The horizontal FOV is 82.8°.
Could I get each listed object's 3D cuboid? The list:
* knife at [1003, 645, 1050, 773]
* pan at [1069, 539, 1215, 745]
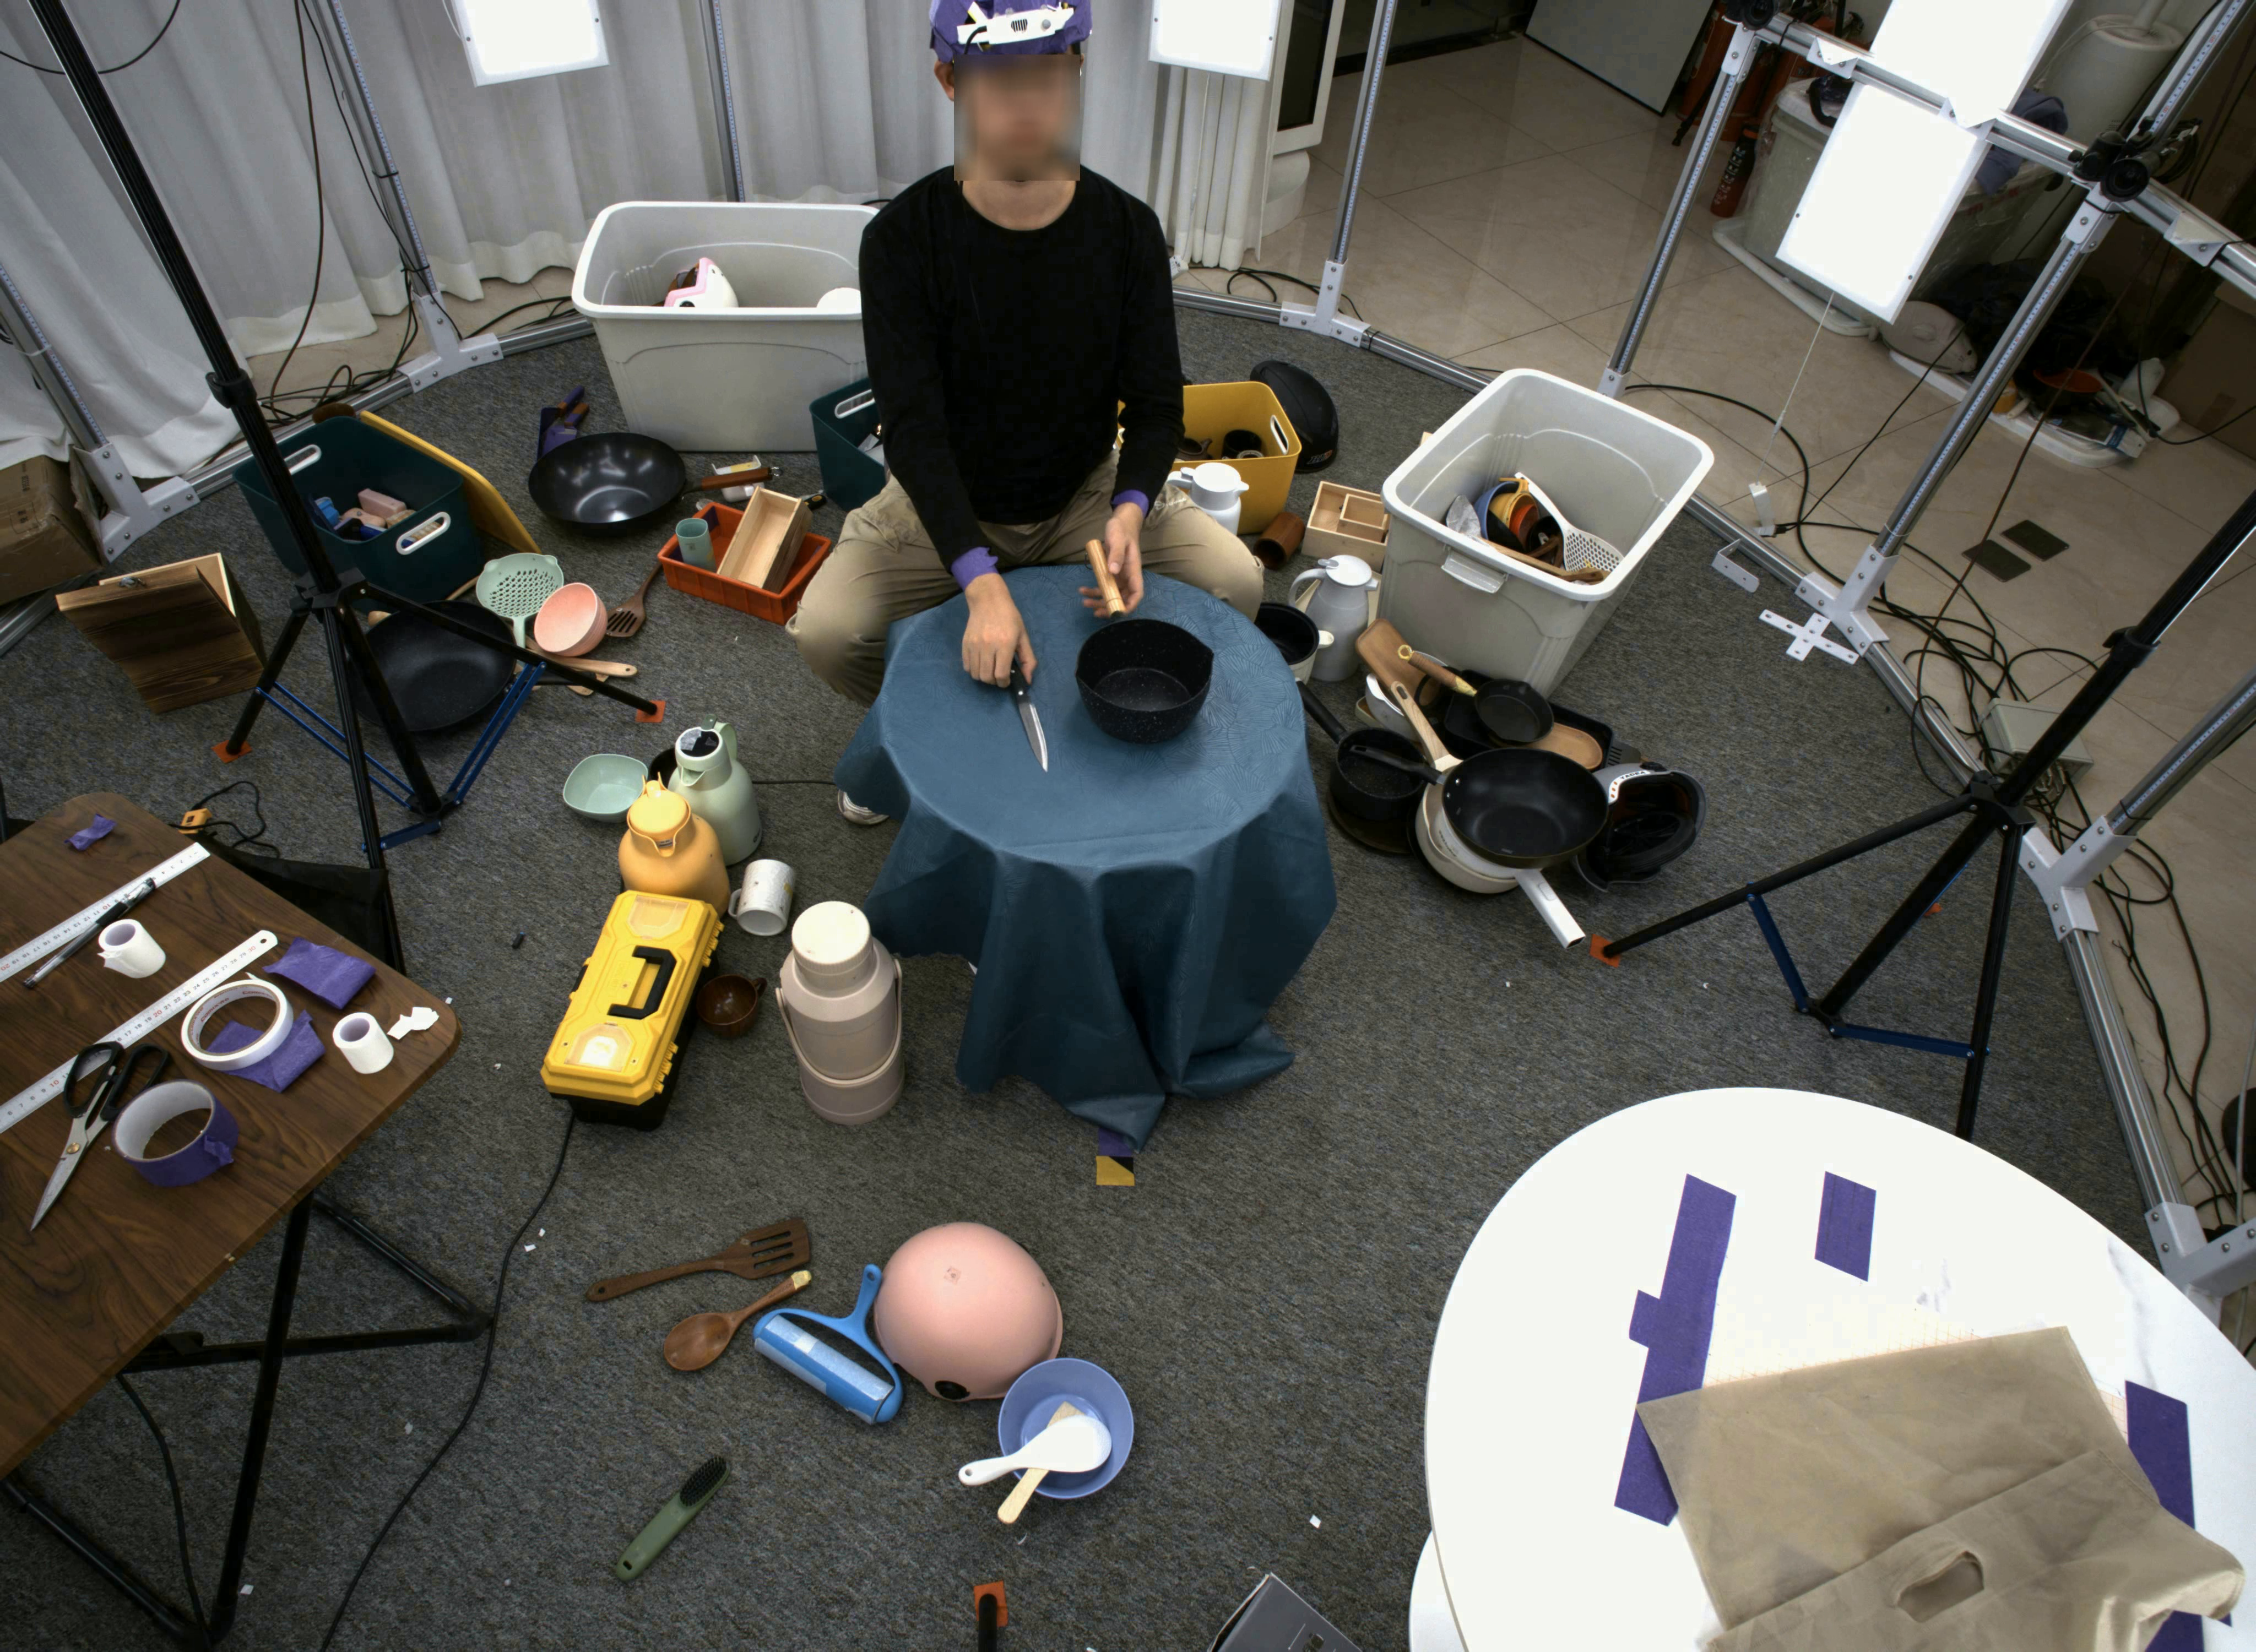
[{"bbox_3d":[-0.142,-0.166,1.795,0.024,0.016,0.244,-12,54,-10],"label":"knife"},{"bbox_3d":[-0.003,-0.262,1.828,0.207,0.105,0.351,-12,52,-13],"label":"pan"}]
